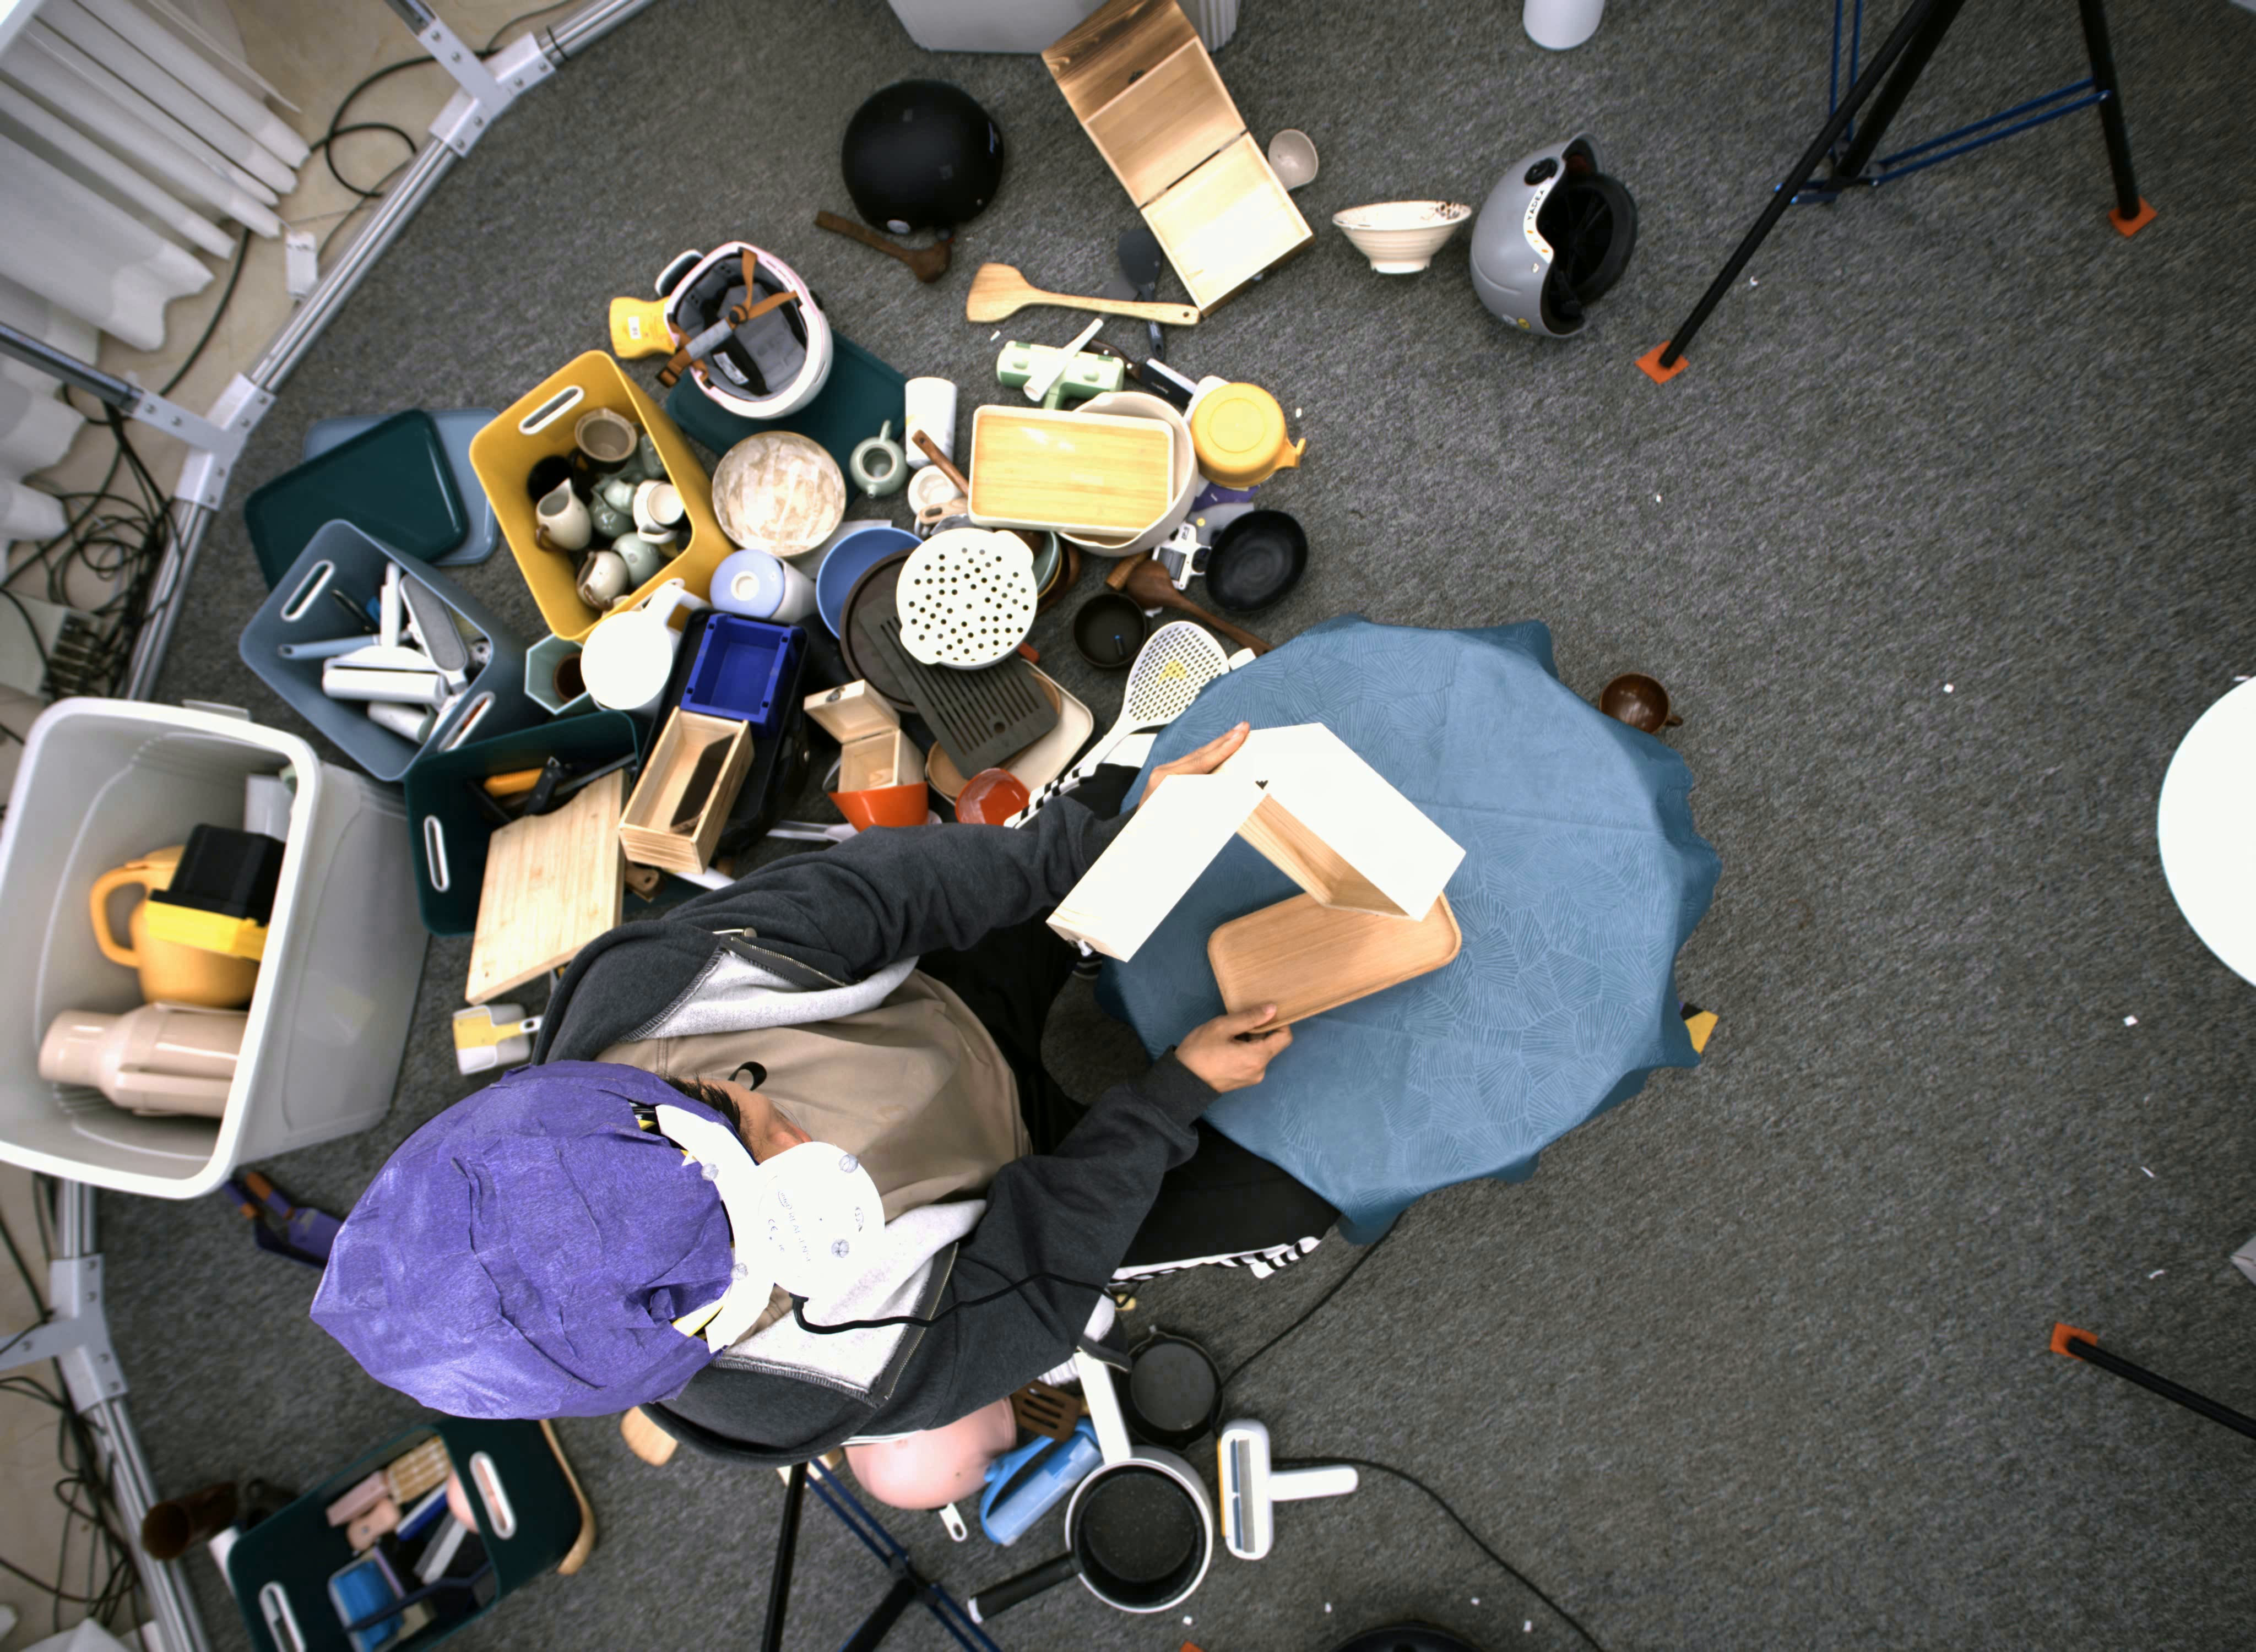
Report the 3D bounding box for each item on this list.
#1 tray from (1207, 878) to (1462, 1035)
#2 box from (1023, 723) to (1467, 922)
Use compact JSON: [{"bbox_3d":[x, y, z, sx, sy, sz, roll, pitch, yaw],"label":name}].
[{"bbox_3d":[0.211,0.122,1.427,0.252,0.023,0.128,-21,61,8],"label":"tray"},{"bbox_3d":[0.099,0.041,1.224,0.267,0.182,0.252,39,83,-15],"label":"box"}]
